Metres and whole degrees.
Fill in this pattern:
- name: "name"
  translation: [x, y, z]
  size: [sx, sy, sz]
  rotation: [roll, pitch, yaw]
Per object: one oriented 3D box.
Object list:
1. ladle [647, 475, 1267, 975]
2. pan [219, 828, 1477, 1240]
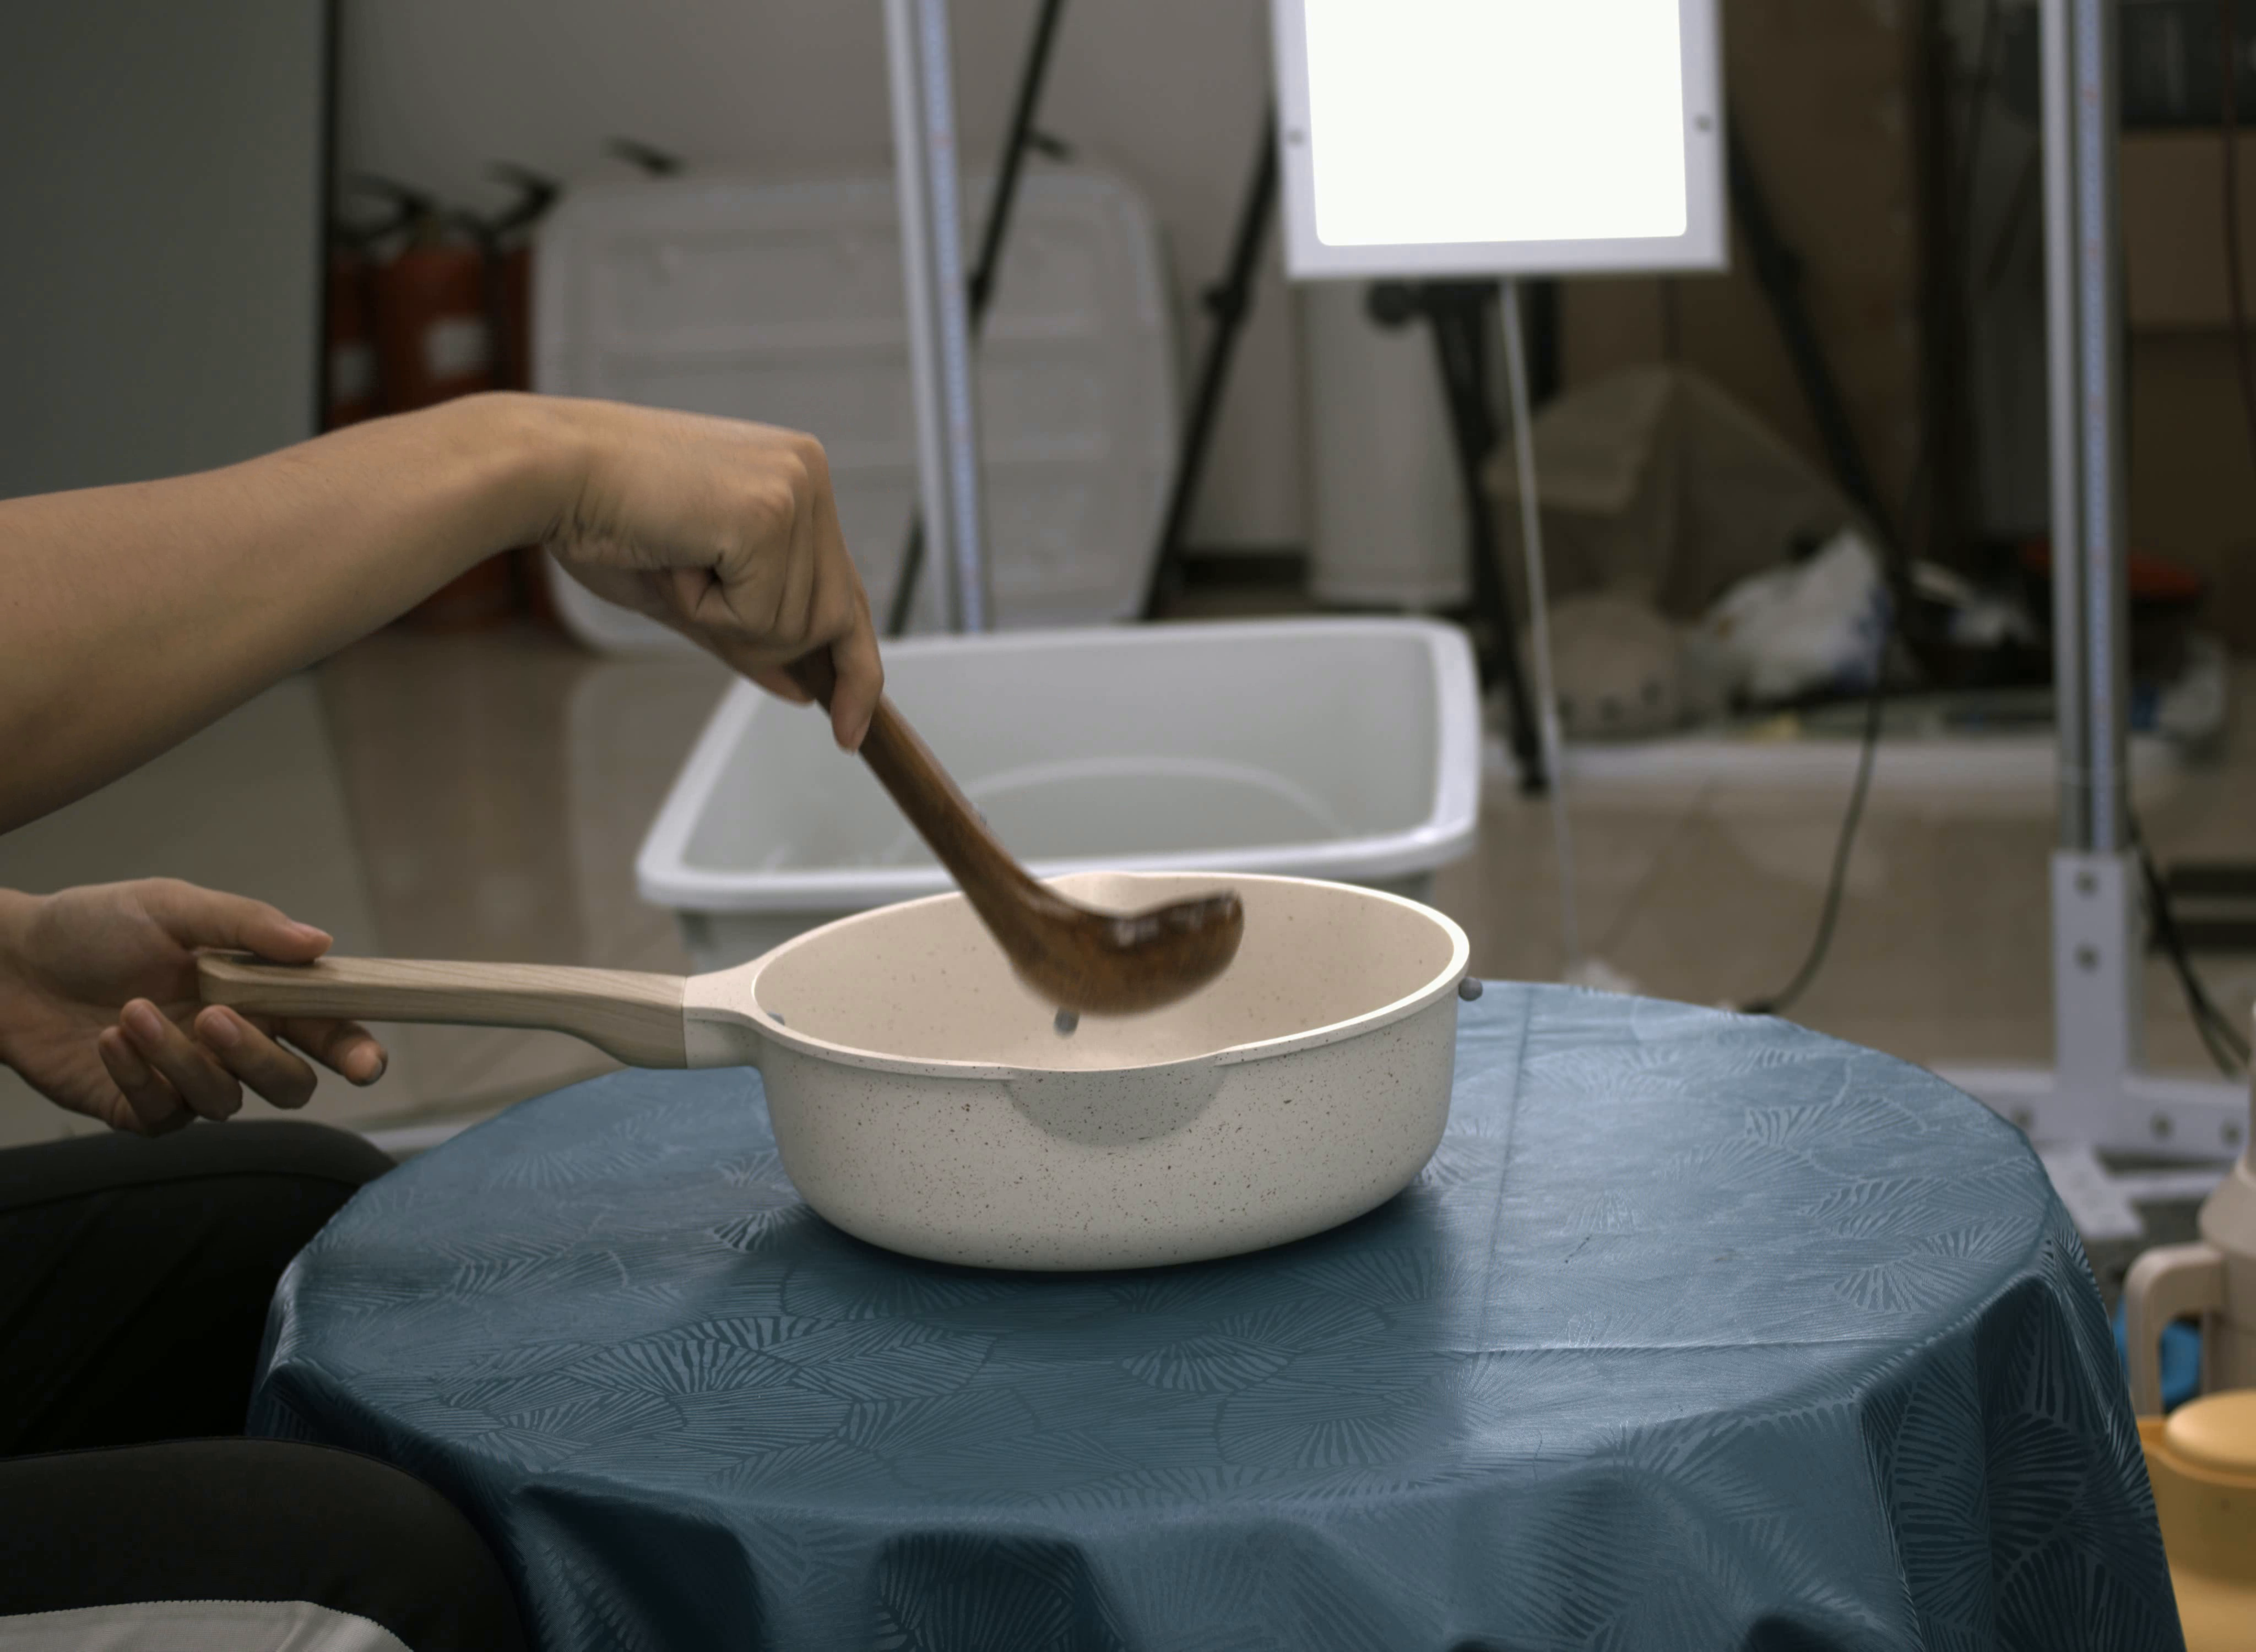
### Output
- name: "ladle"
  translation: [-0.053, -0.042, 1.799]
  size: [0.083, 0.271, 0.076]
  rotation: [-21, 36, 34]
- name: "pan"
  translation: [-0.093, 0.074, 1.913]
  size: [0.434, 0.102, 0.263]
  rotation: [-5, 15, 1]
